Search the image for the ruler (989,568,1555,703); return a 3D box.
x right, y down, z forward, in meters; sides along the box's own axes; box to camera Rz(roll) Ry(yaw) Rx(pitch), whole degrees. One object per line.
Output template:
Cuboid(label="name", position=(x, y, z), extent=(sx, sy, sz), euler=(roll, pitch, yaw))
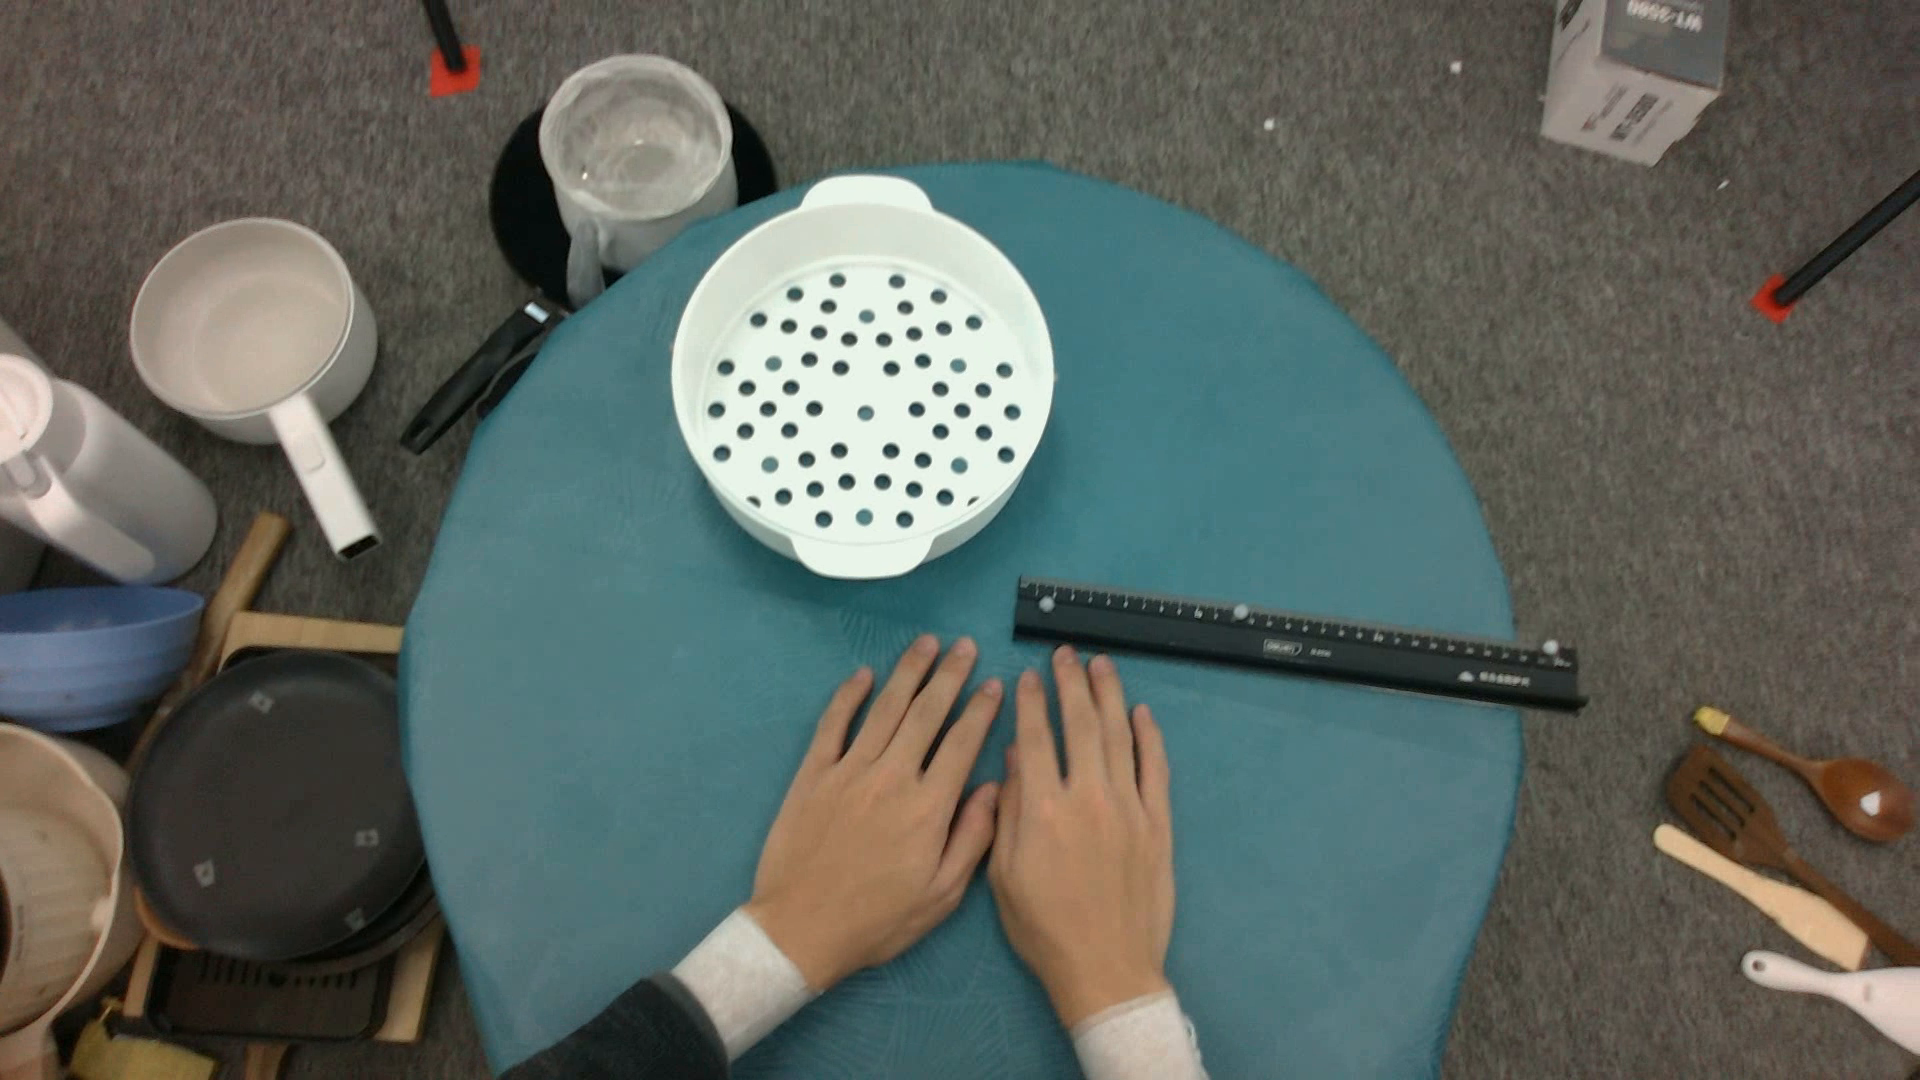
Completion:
Cuboid(label="ruler", position=(0.172, 0.051, 0.755), extent=(0.312, 0.017, 0.039), euler=(8, 67, -2))

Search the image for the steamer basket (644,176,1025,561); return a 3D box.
Cuboid(label="steamer basket", position=(-0.067, -0.087, 0.755), extent=(0.202, 0.069, 0.231), euler=(0, 68, -5))
